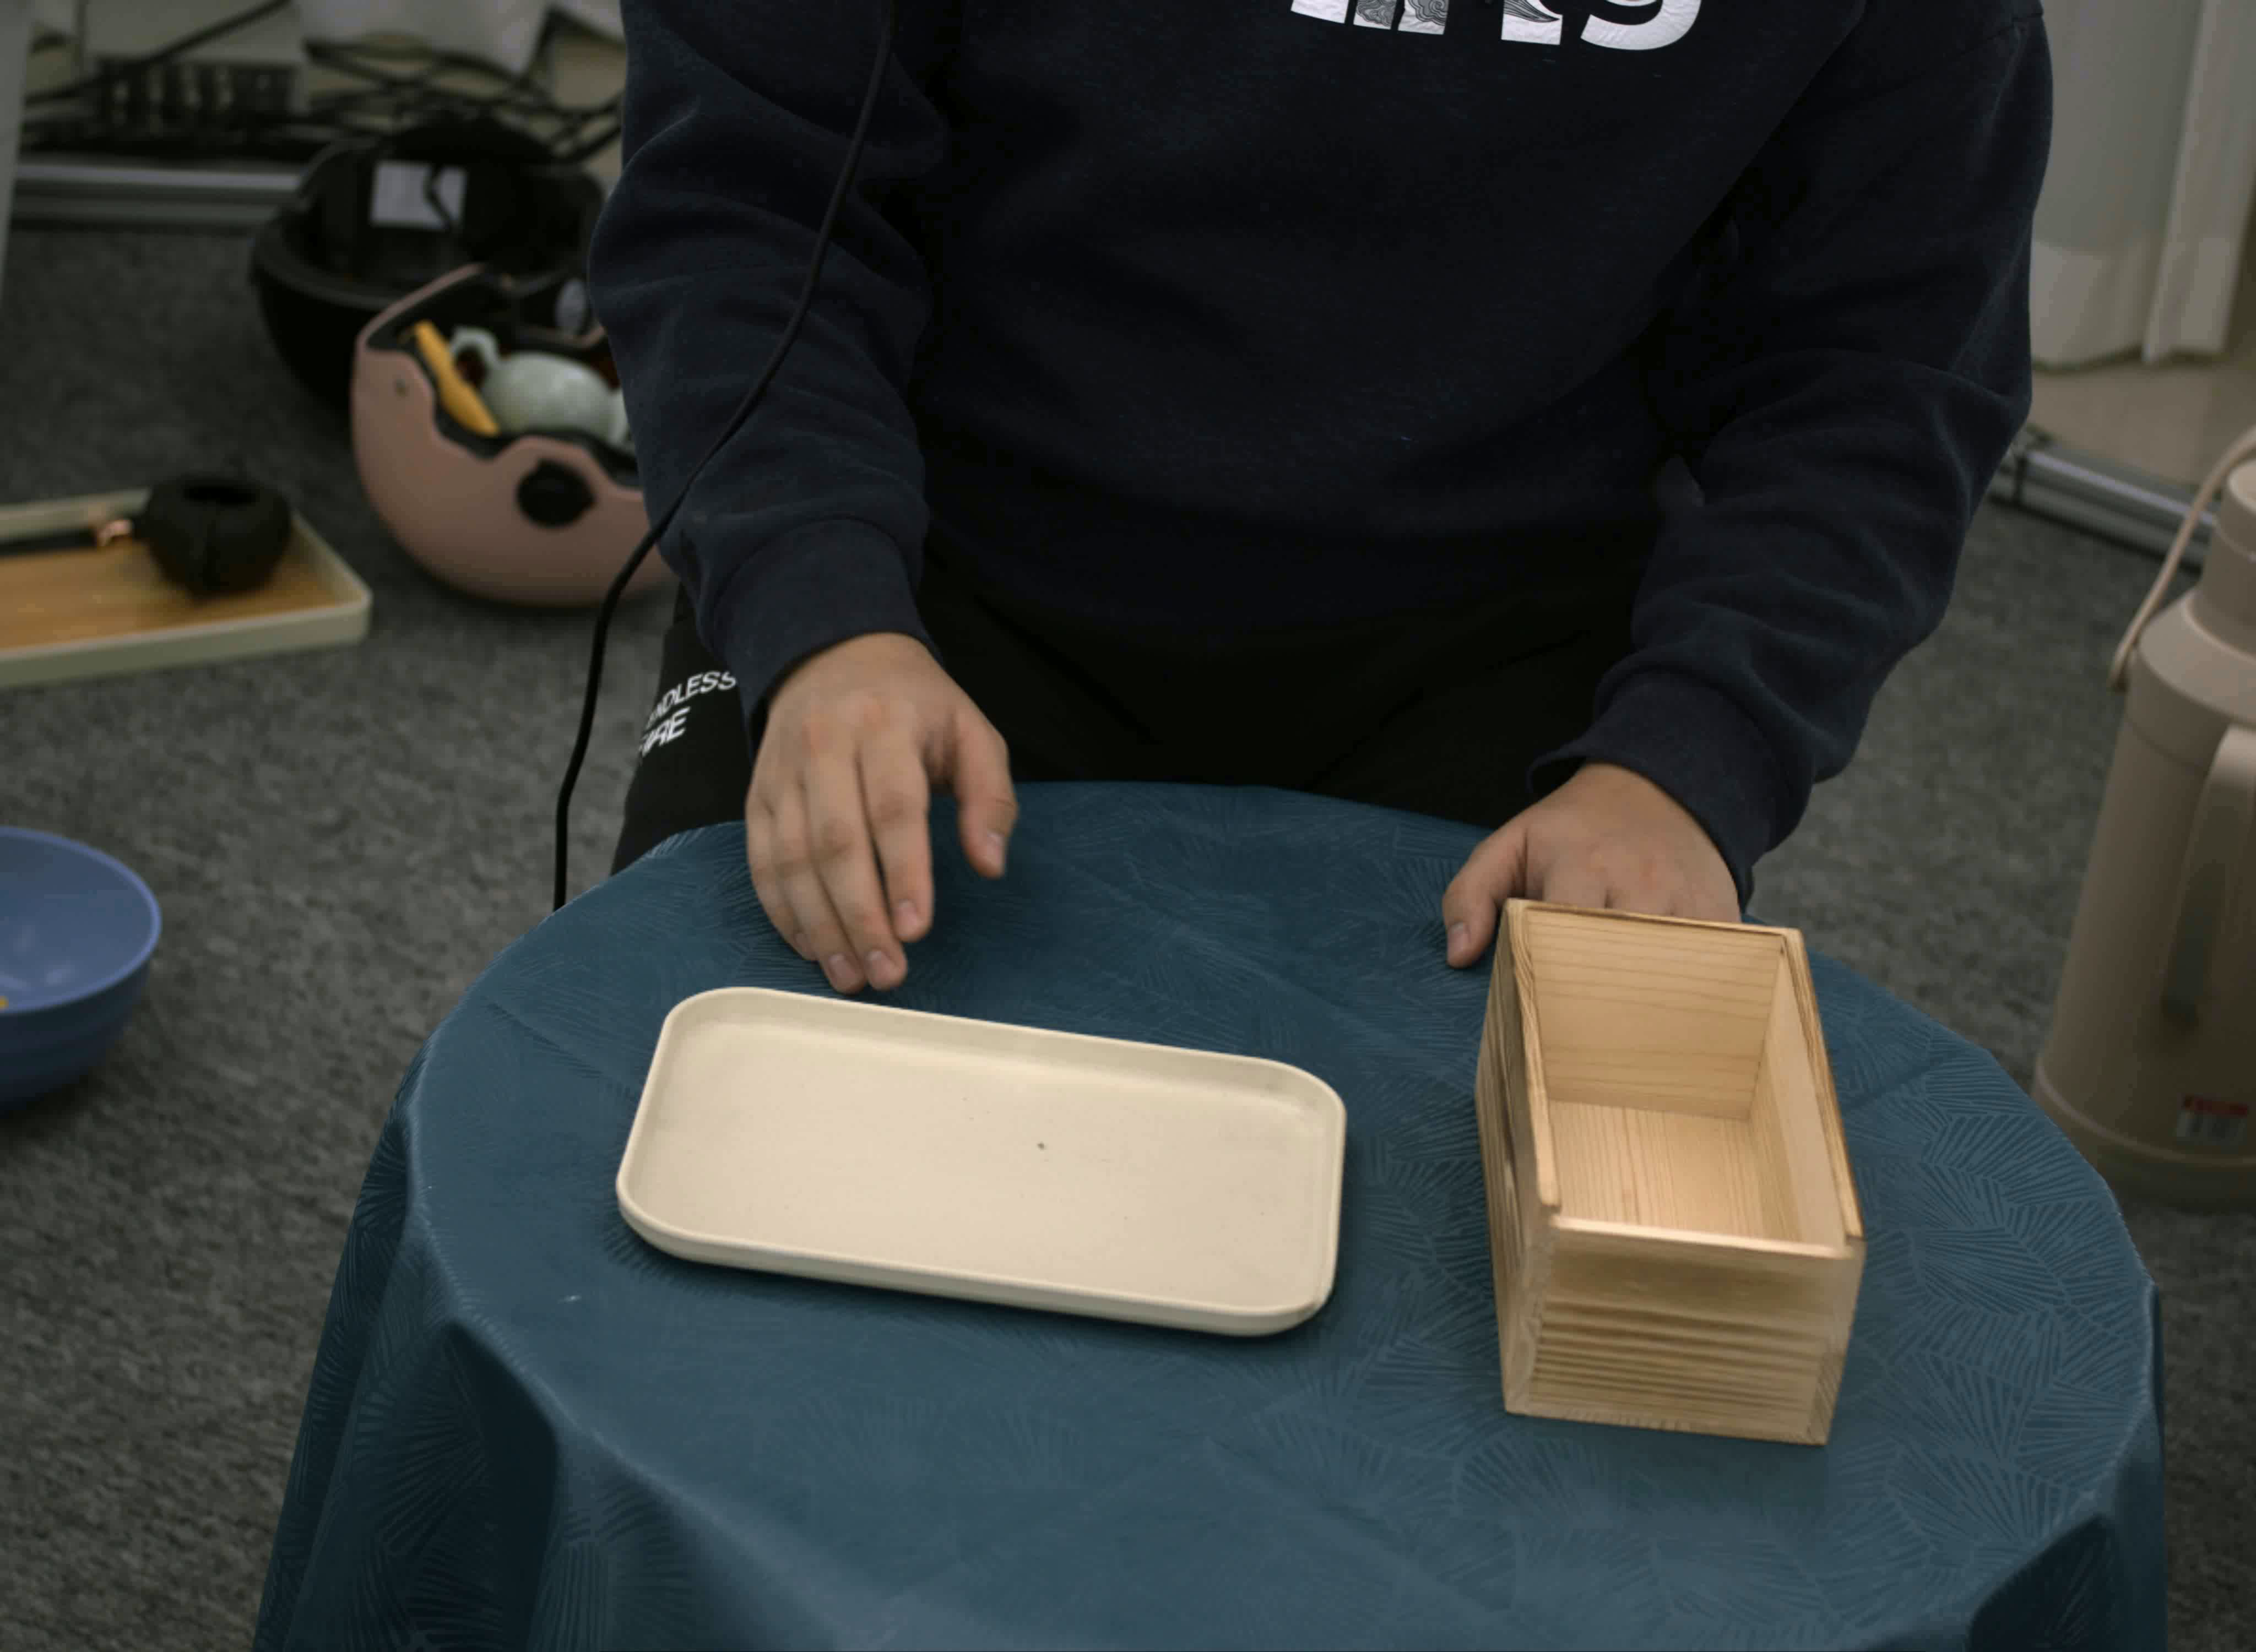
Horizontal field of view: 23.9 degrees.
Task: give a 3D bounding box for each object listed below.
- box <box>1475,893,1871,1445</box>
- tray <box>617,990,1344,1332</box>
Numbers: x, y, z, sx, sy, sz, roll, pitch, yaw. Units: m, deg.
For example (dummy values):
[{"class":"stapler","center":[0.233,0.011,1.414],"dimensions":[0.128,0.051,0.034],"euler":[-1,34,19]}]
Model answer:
[{"class":"box","center":[0.179,0.112,1.784],"dimensions":[0.107,0.080,0.212],"euler":[6,27,-3]},{"class":"tray","center":[-0.047,0.113,1.796],"dimensions":[0.239,0.017,0.172],"euler":[8,26,1]}]
